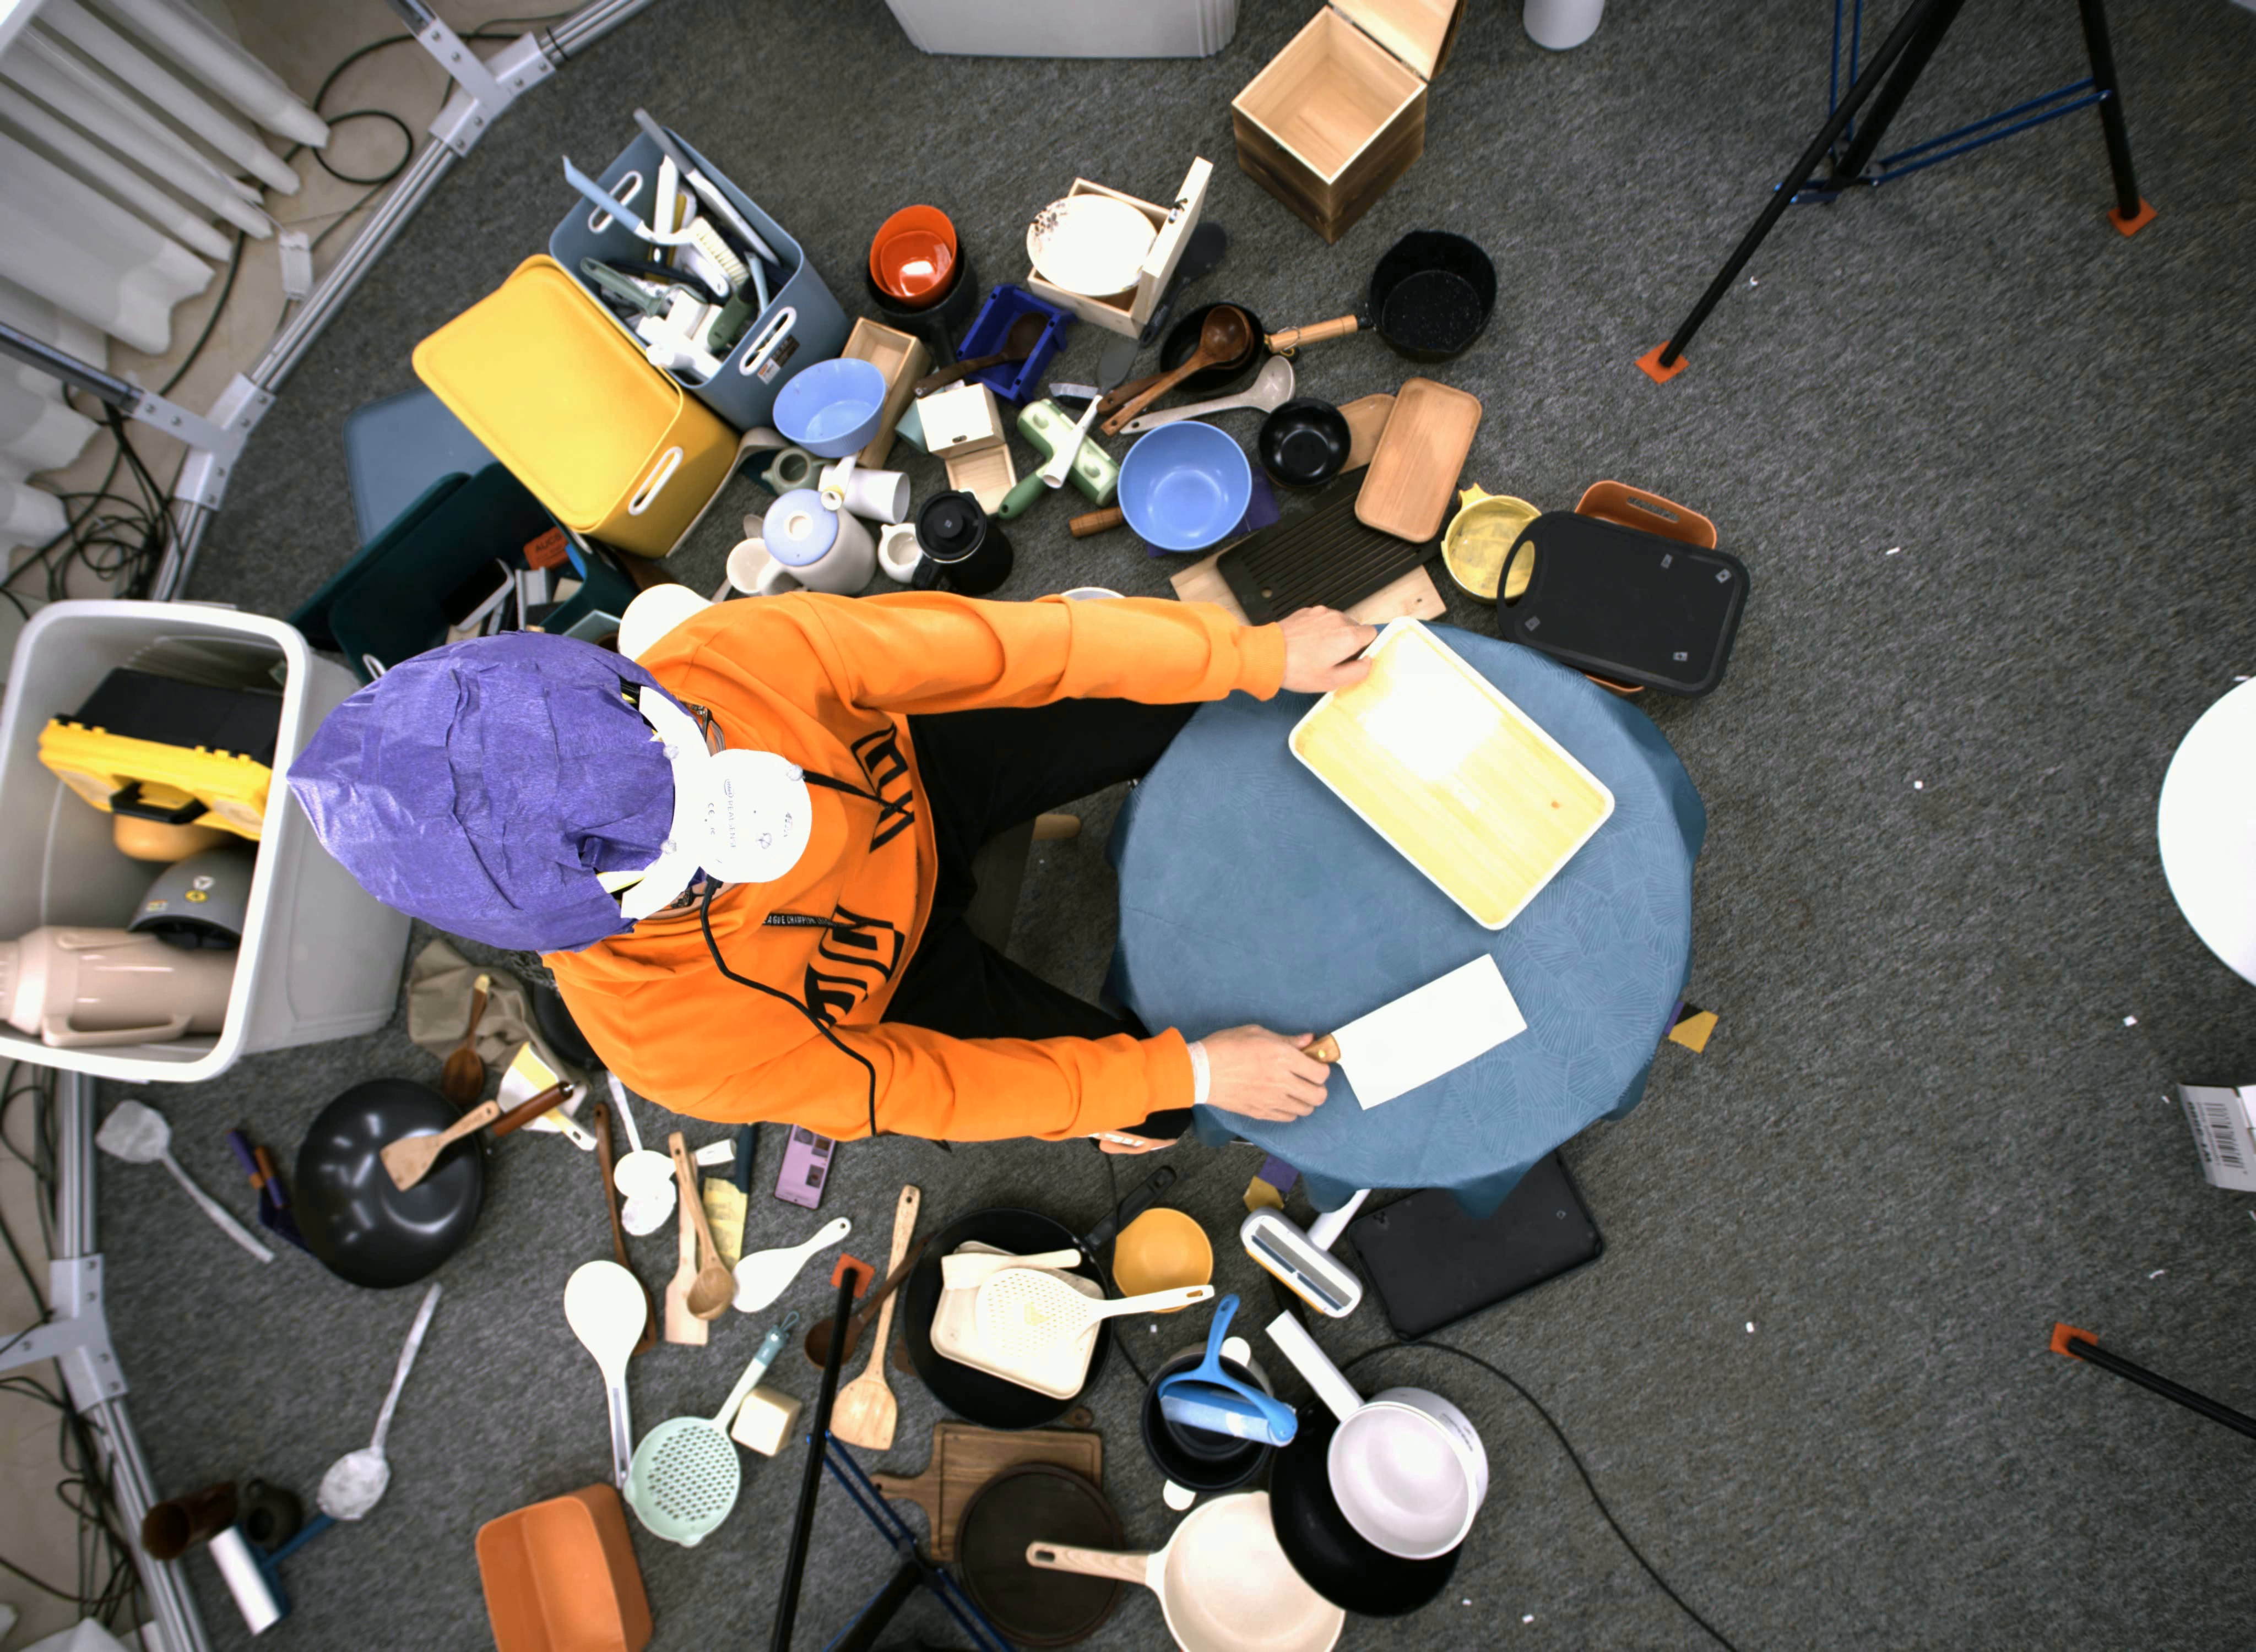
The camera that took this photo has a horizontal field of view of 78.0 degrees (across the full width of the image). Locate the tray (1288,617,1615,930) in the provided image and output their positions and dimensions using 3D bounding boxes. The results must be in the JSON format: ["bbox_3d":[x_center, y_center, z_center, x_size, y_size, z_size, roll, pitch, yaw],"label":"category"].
[{"bbox_3d":[0.334,-0.057,1.432,0.299,0.027,0.192,43,96,6],"label":"tray"}]

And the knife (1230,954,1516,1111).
[{"bbox_3d":[0.258,0.237,1.442,0.307,0.021,0.093,-28,94,7],"label":"knife"}]
